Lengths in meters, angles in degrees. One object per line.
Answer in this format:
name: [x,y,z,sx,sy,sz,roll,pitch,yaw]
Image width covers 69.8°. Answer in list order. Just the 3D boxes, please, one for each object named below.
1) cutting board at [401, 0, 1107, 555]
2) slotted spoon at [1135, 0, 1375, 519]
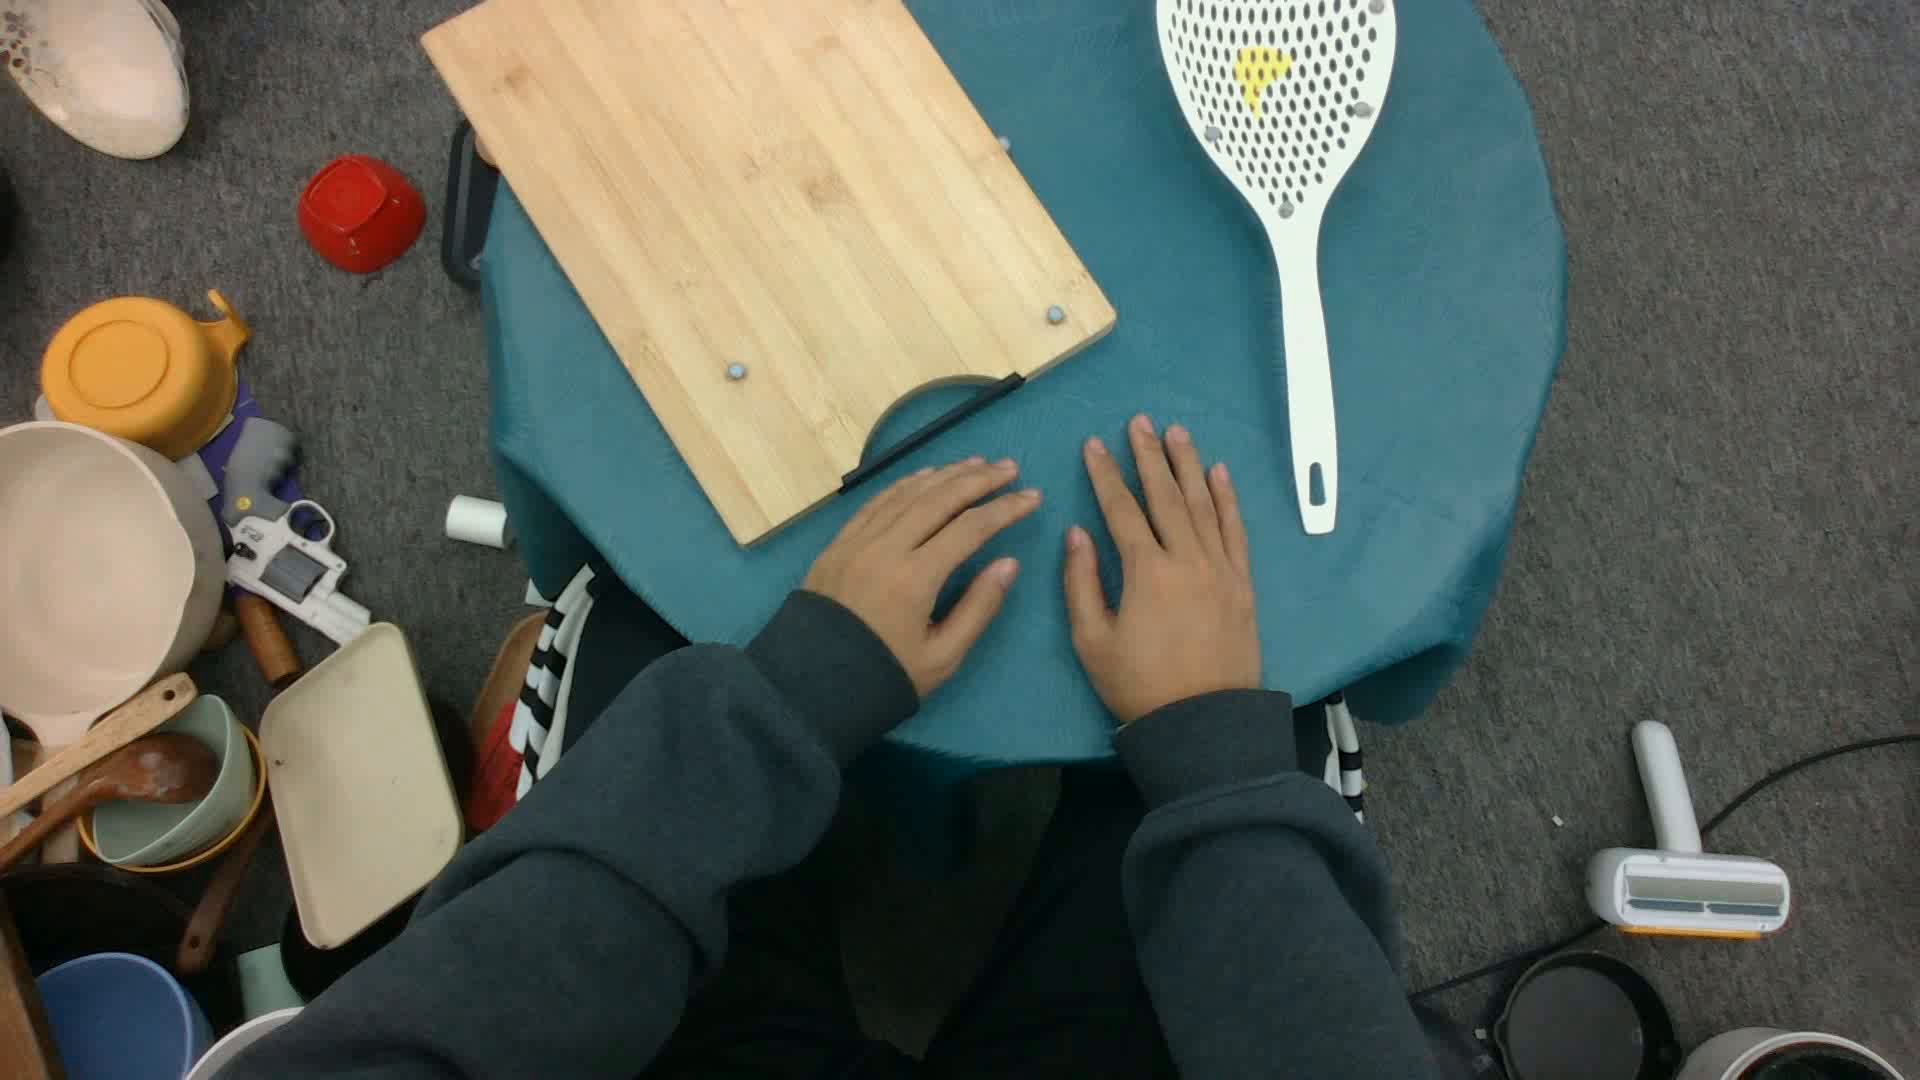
cutting board: [-0.113,-0.199,0.759,0.251,0.023,0.349,-33,82,-10]
slotted spoon: [0.173,-0.185,0.762,0.137,0.050,0.348,-4,78,-7]
